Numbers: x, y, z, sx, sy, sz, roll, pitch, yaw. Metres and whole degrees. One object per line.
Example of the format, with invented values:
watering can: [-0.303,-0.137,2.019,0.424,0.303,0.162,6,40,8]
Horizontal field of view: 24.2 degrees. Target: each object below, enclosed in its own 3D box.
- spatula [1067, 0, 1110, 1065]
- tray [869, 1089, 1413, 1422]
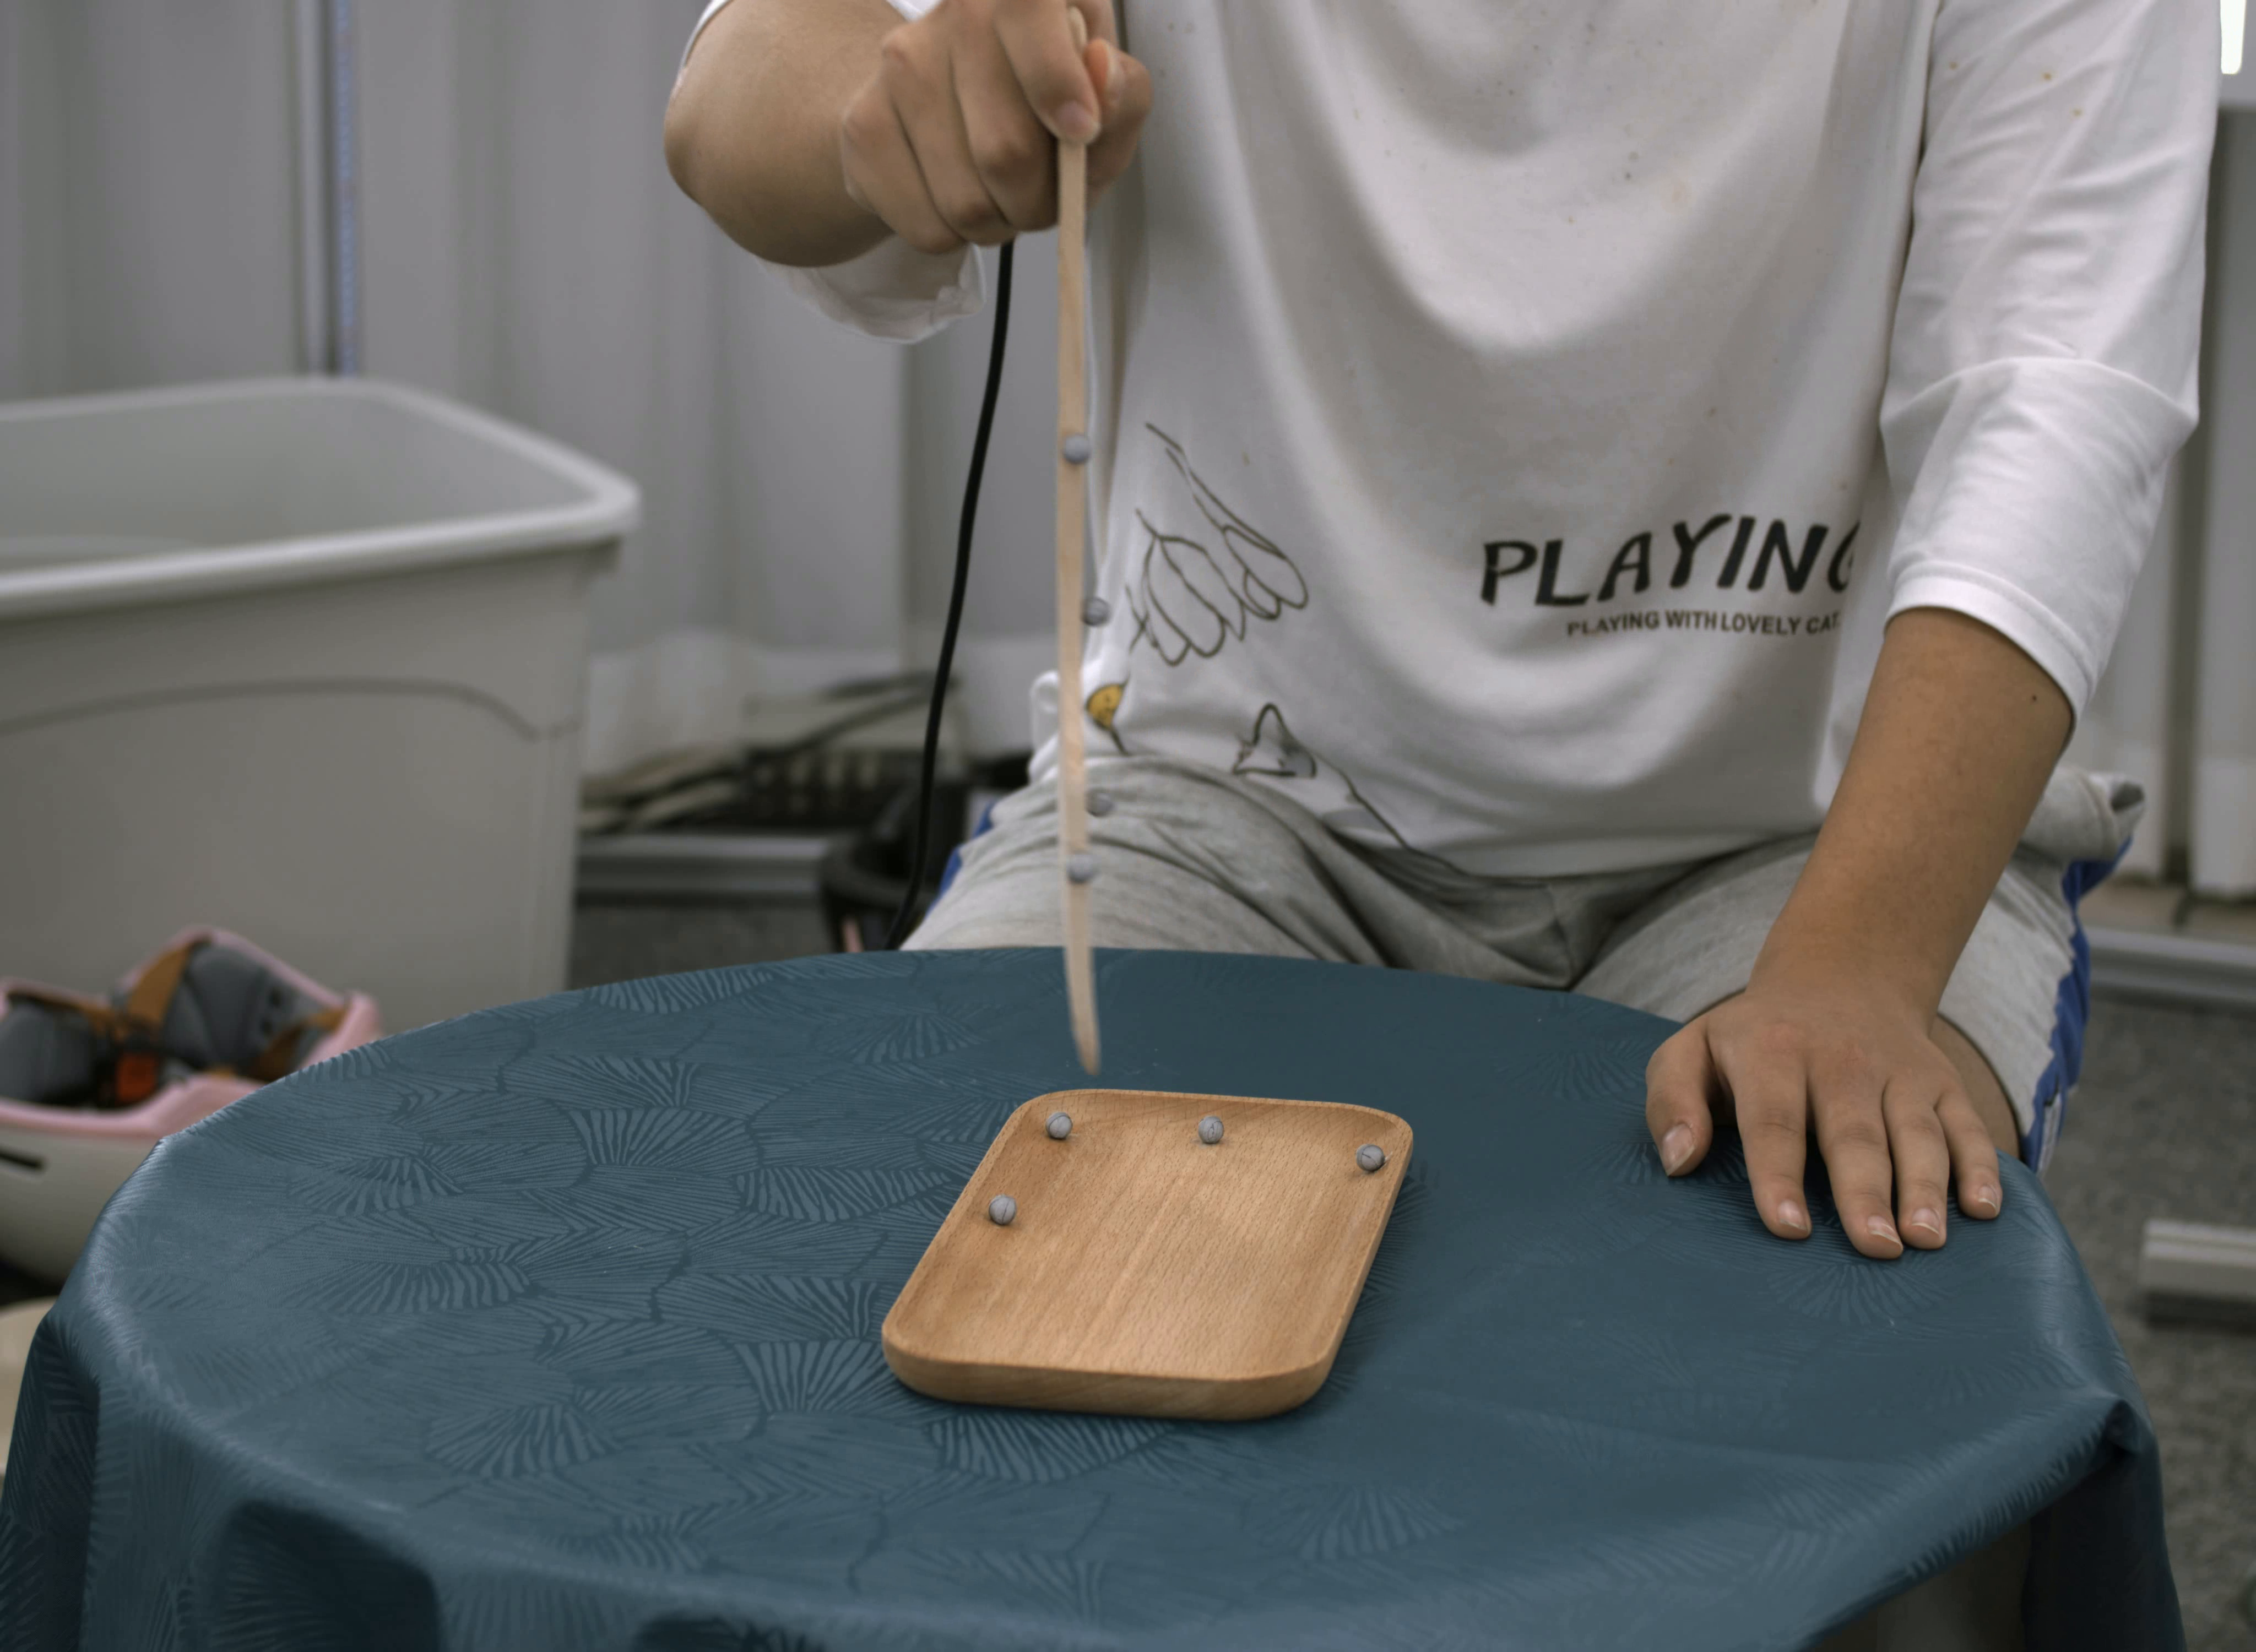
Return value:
spatula: [-0.011,-0.082,1.448,0.010,0.295,0.072,-1,8,-2]
tray: [0.008,0.124,1.558,0.129,0.023,0.250,1,16,11]
